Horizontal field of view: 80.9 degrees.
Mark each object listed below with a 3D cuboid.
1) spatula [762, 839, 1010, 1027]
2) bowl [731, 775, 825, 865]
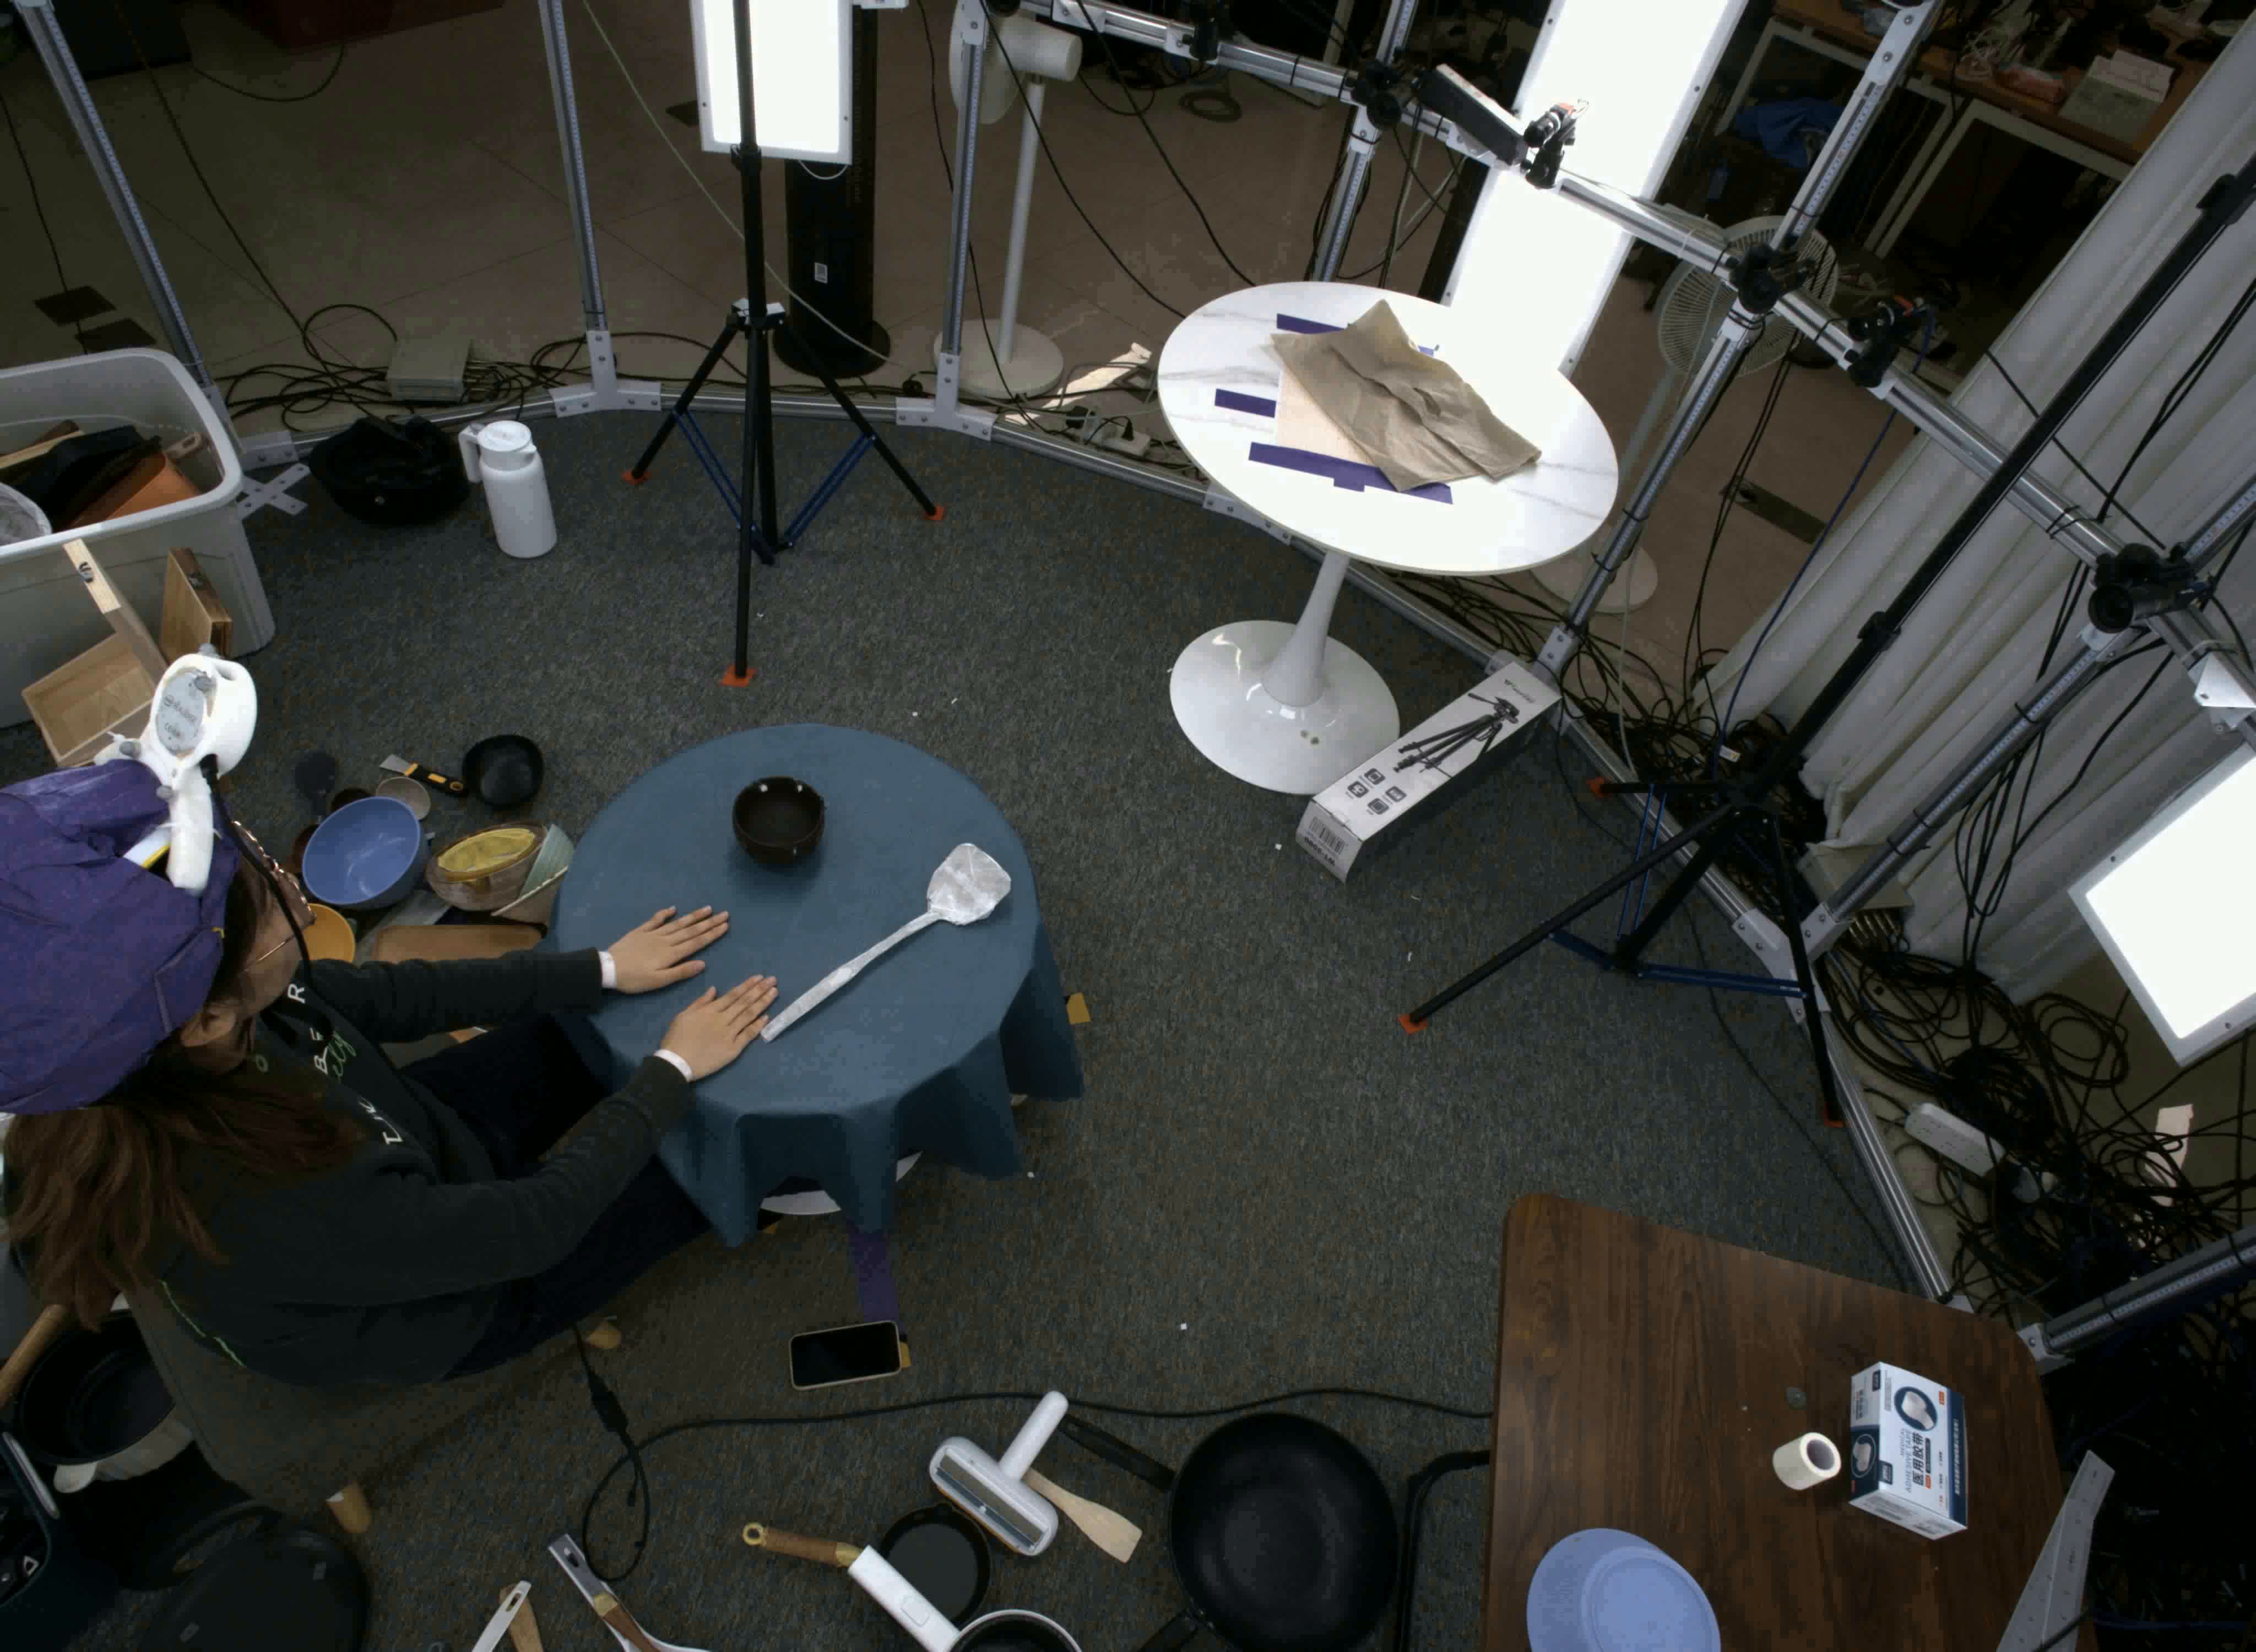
[{"bbox_3d":[-0.304,0.140,1.630,0.097,0.045,0.366,43,55,16],"label":"spatula"},{"bbox_3d":[-0.452,-0.001,1.676,0.117,0.071,0.116,6,52,-7],"label":"bowl"}]
